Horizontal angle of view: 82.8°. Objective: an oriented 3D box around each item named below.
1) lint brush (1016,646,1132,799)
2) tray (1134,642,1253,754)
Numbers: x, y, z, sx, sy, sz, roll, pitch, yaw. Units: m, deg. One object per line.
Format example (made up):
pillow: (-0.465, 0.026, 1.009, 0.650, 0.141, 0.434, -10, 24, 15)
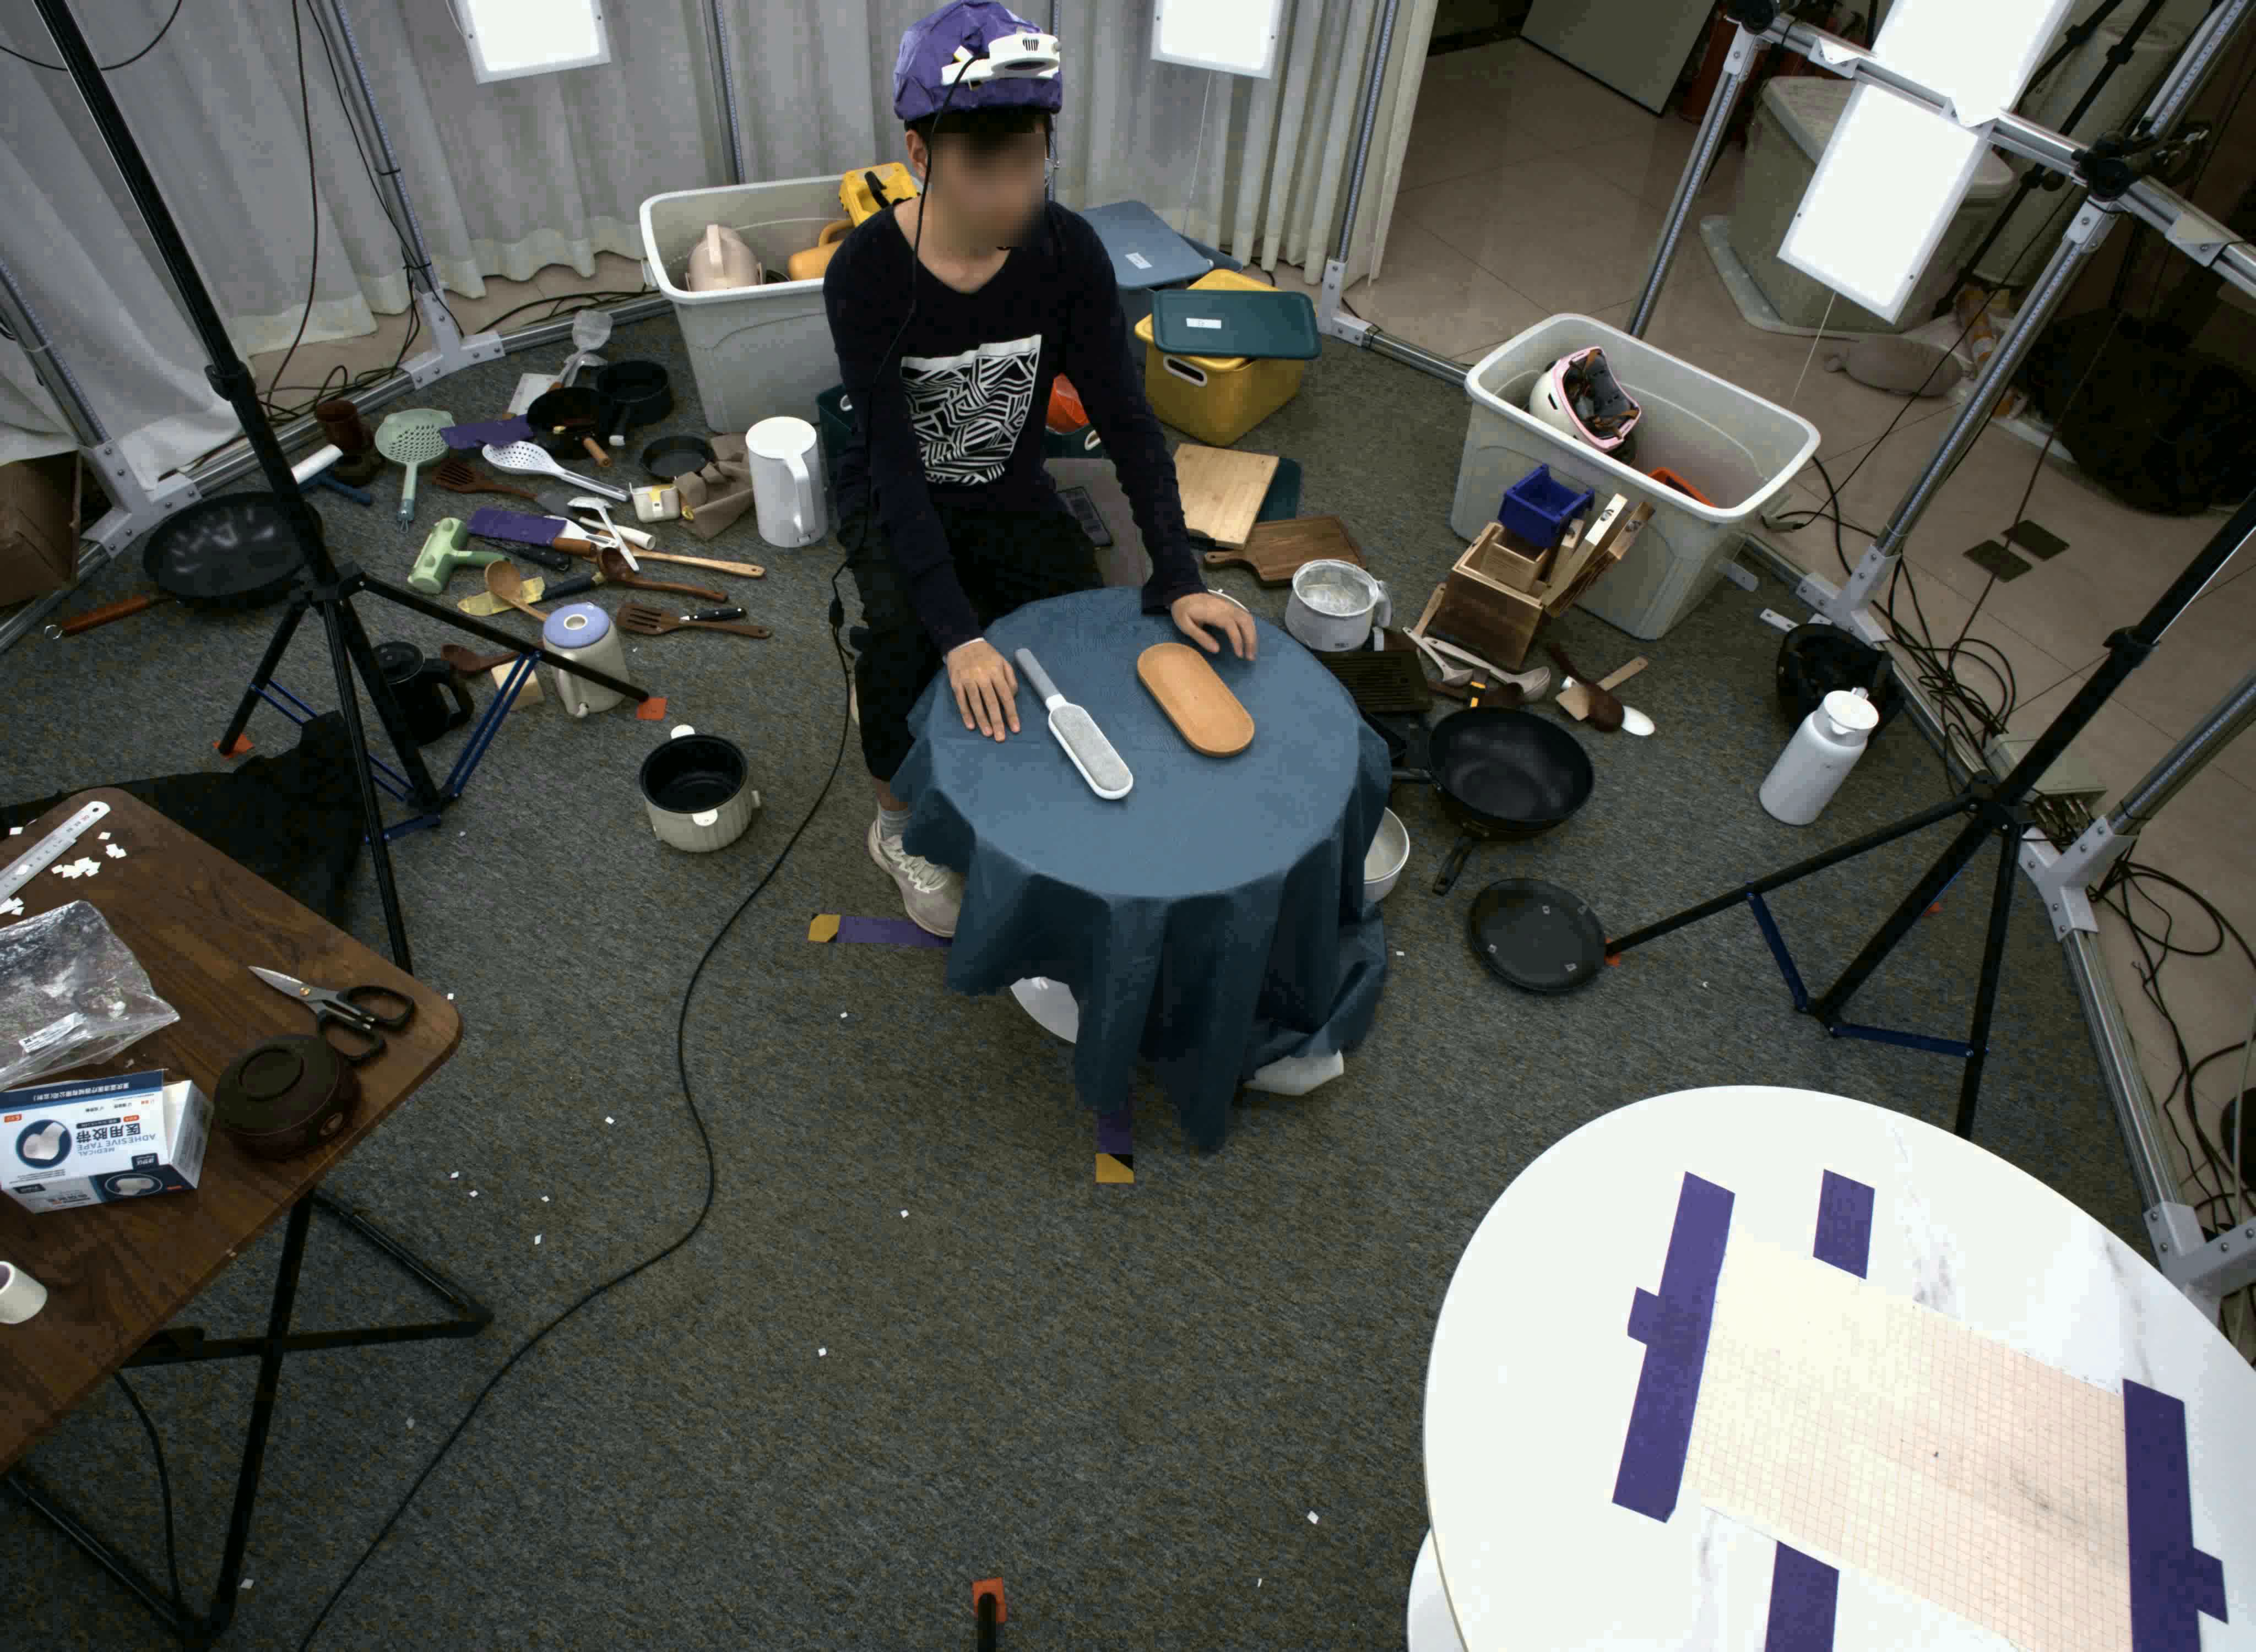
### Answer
lint brush: (-0.081, -0.149, 1.774, 0.060, 0.020, 0.315, -23, 54, -16)
tray: (0.091, -0.184, 1.823, 0.102, 0.020, 0.236, -20, 51, -22)
